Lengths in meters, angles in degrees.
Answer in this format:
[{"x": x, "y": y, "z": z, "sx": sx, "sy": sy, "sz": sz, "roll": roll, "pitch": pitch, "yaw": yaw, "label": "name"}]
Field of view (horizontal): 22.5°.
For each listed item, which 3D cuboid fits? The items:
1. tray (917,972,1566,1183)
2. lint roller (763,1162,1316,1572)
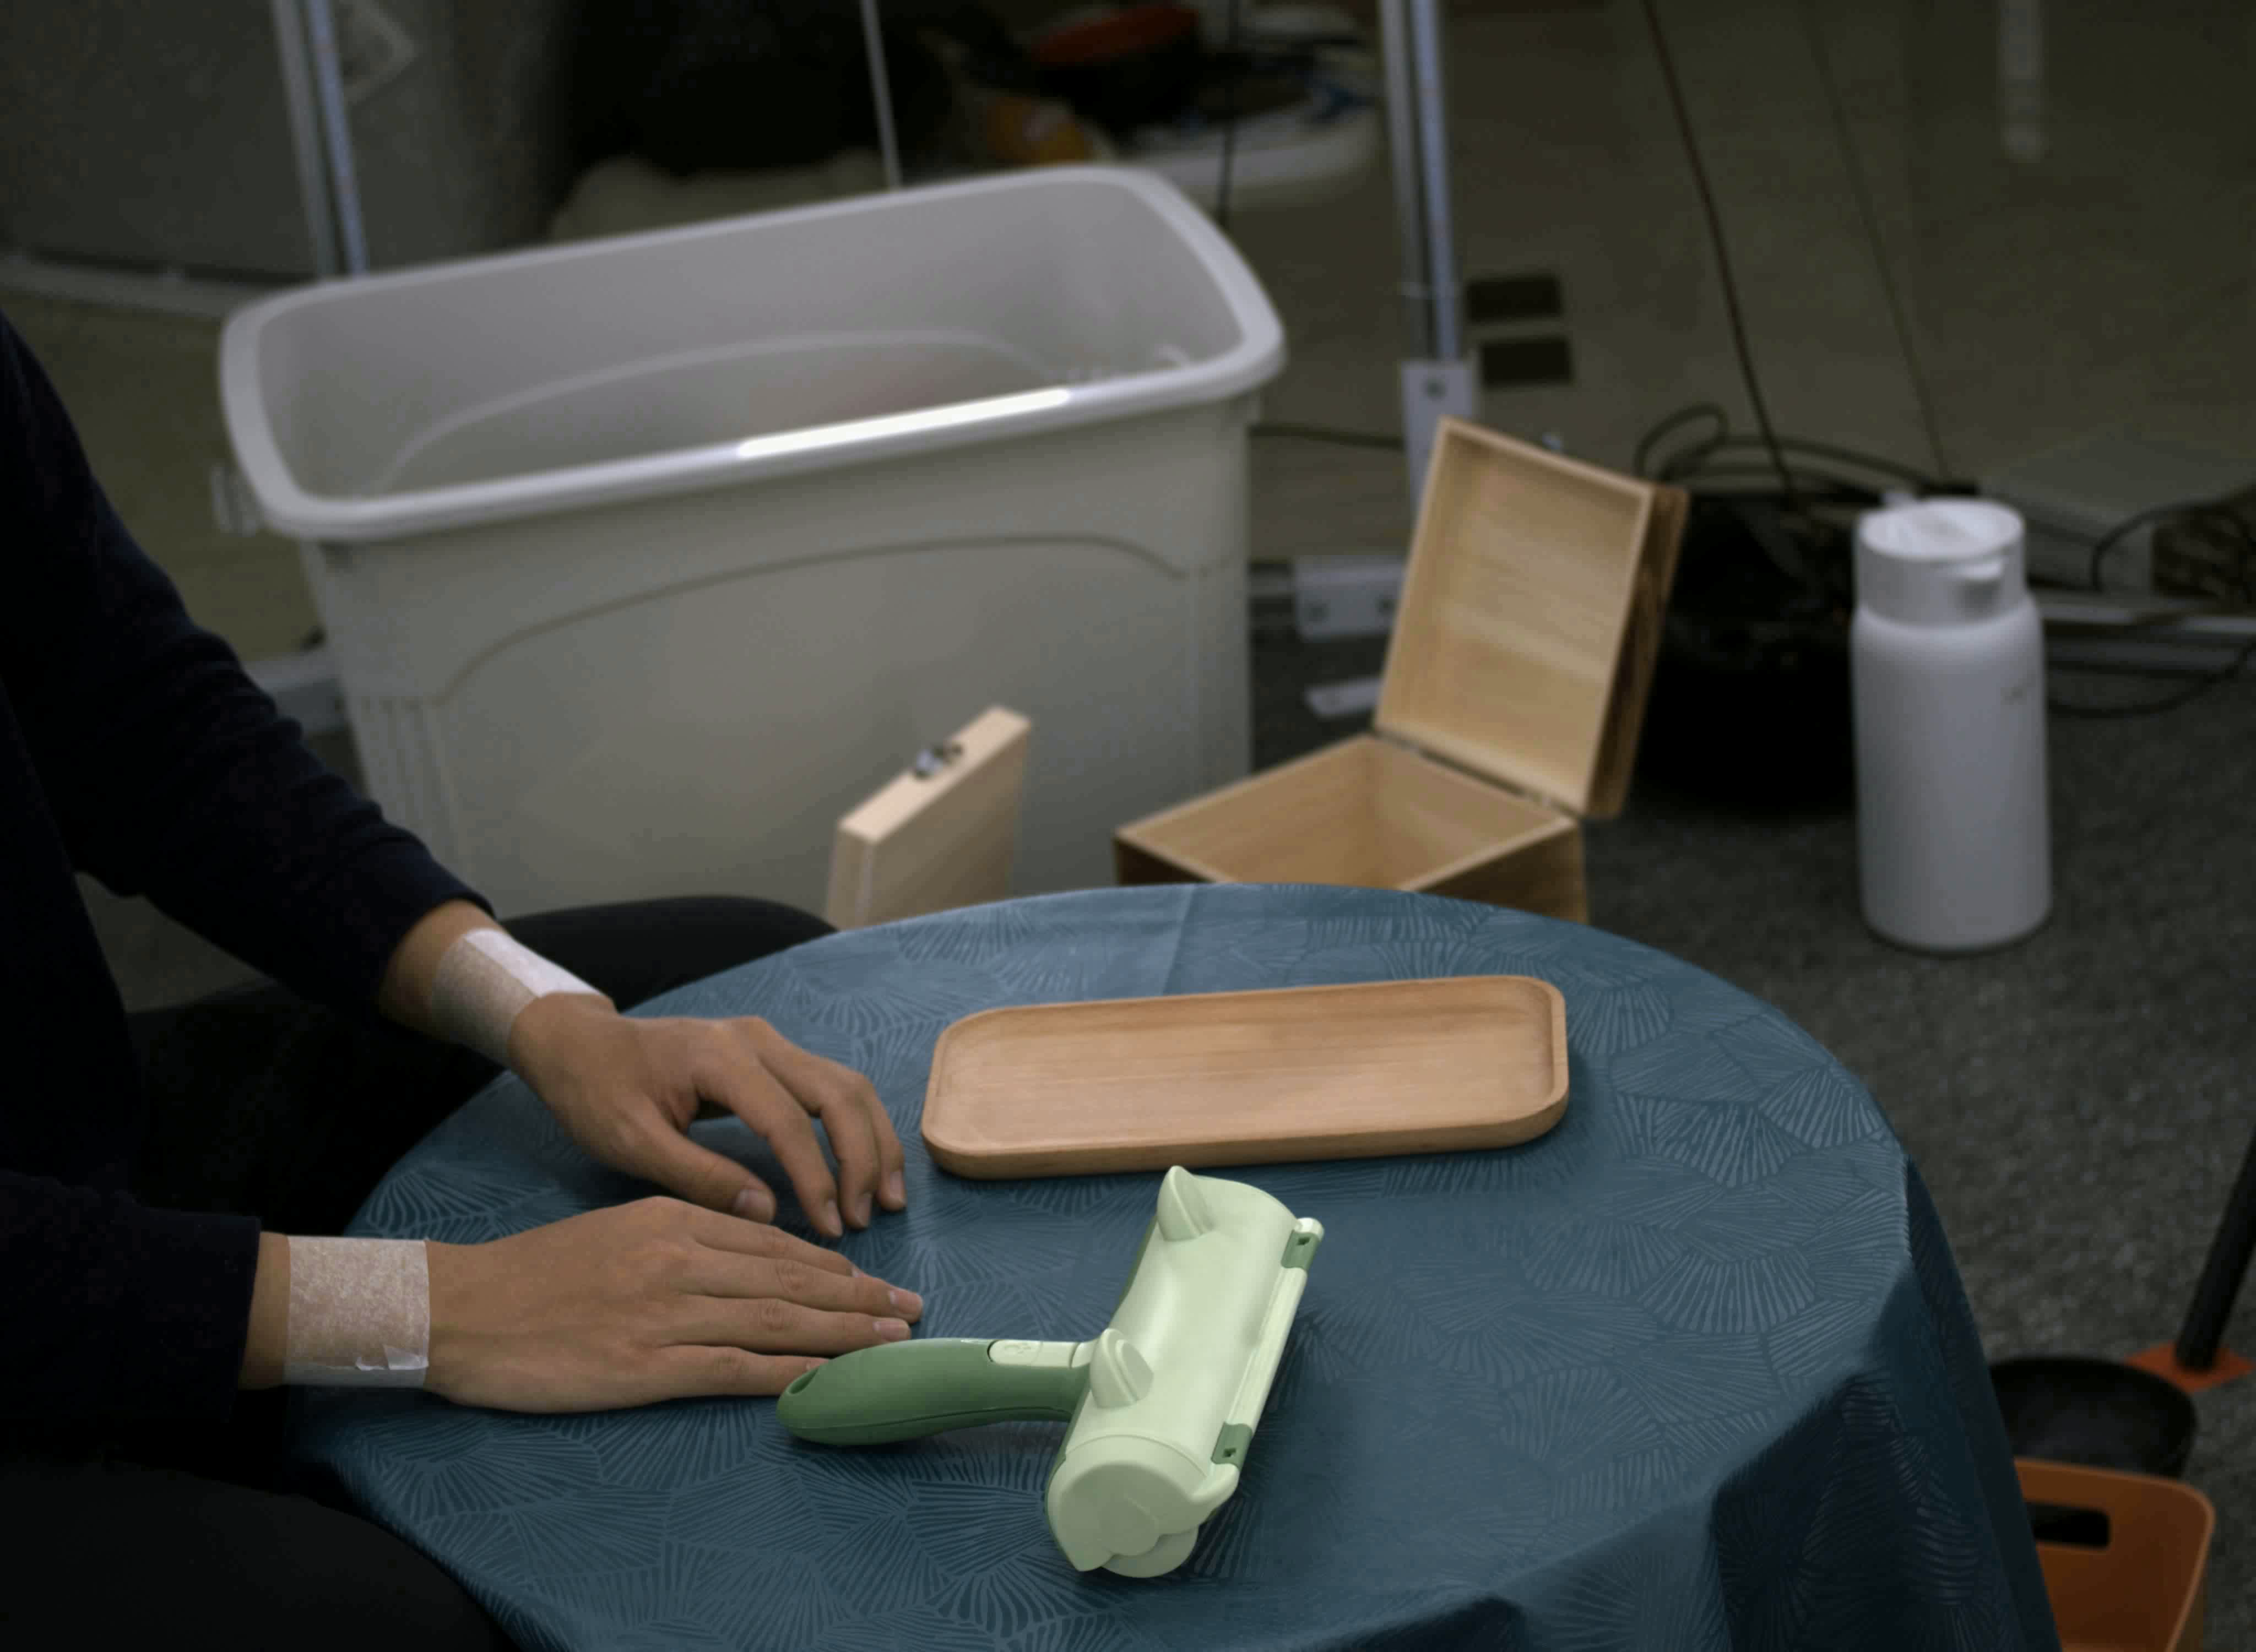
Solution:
[{"x": 0.045, "y": 0.098, "z": 2.204, "sx": 0.250, "sy": 0.023, "sz": 0.129, "roll": -5, "pitch": 23, "yaw": 6, "label": "tray"}, {"x": -0.039, "y": 0.176, "z": 1.973, "sx": 0.183, "sy": 0.083, "sz": 0.196, "roll": 5, "pitch": 26, "yaw": 9, "label": "lint roller"}]
